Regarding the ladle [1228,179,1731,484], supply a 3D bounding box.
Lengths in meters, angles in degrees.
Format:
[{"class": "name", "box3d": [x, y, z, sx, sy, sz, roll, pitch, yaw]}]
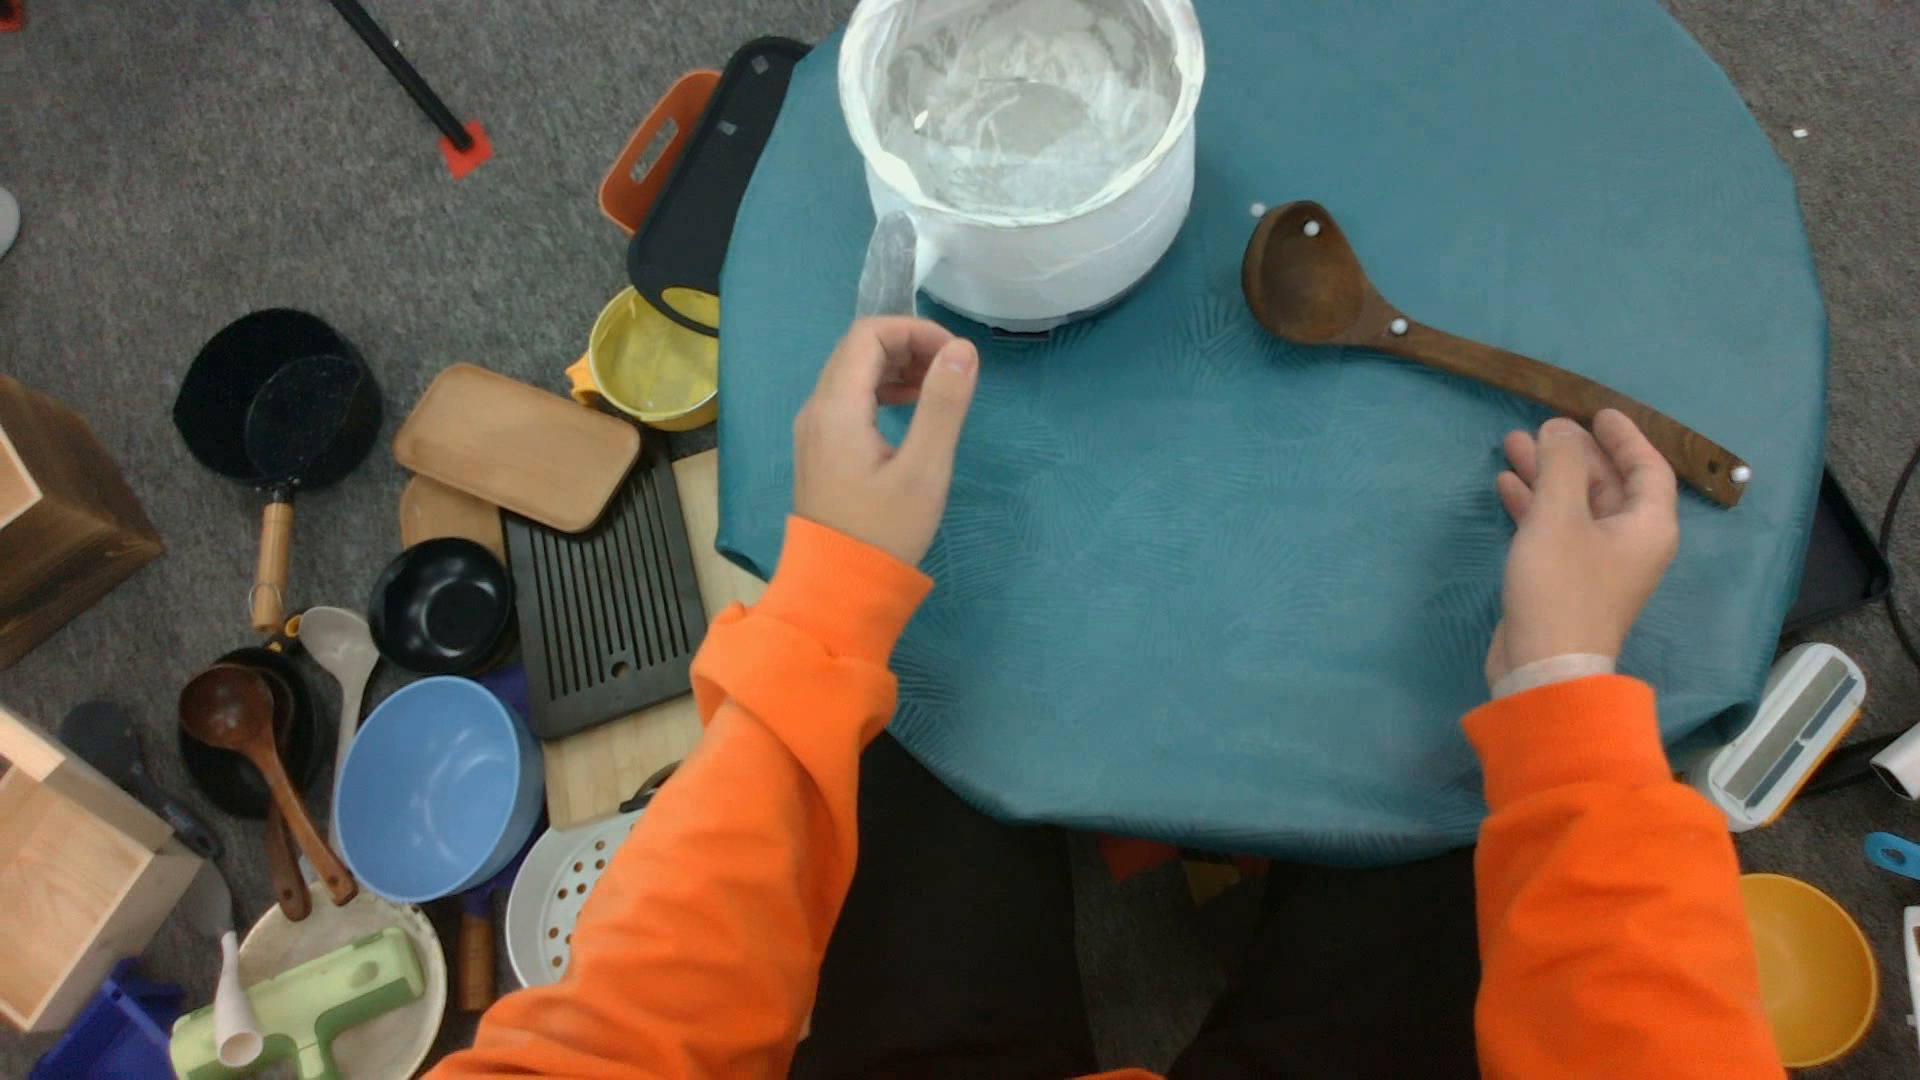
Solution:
[{"class": "ladle", "box3d": [0.267, -0.104, 0.703, 0.274, 0.071, 0.076, 26, 80, 14]}]

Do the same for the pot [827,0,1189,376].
[{"class": "pot", "box3d": [0.014, -0.198, 0.722, 0.179, 0.136, 0.234, 31, 78, 14]}]
